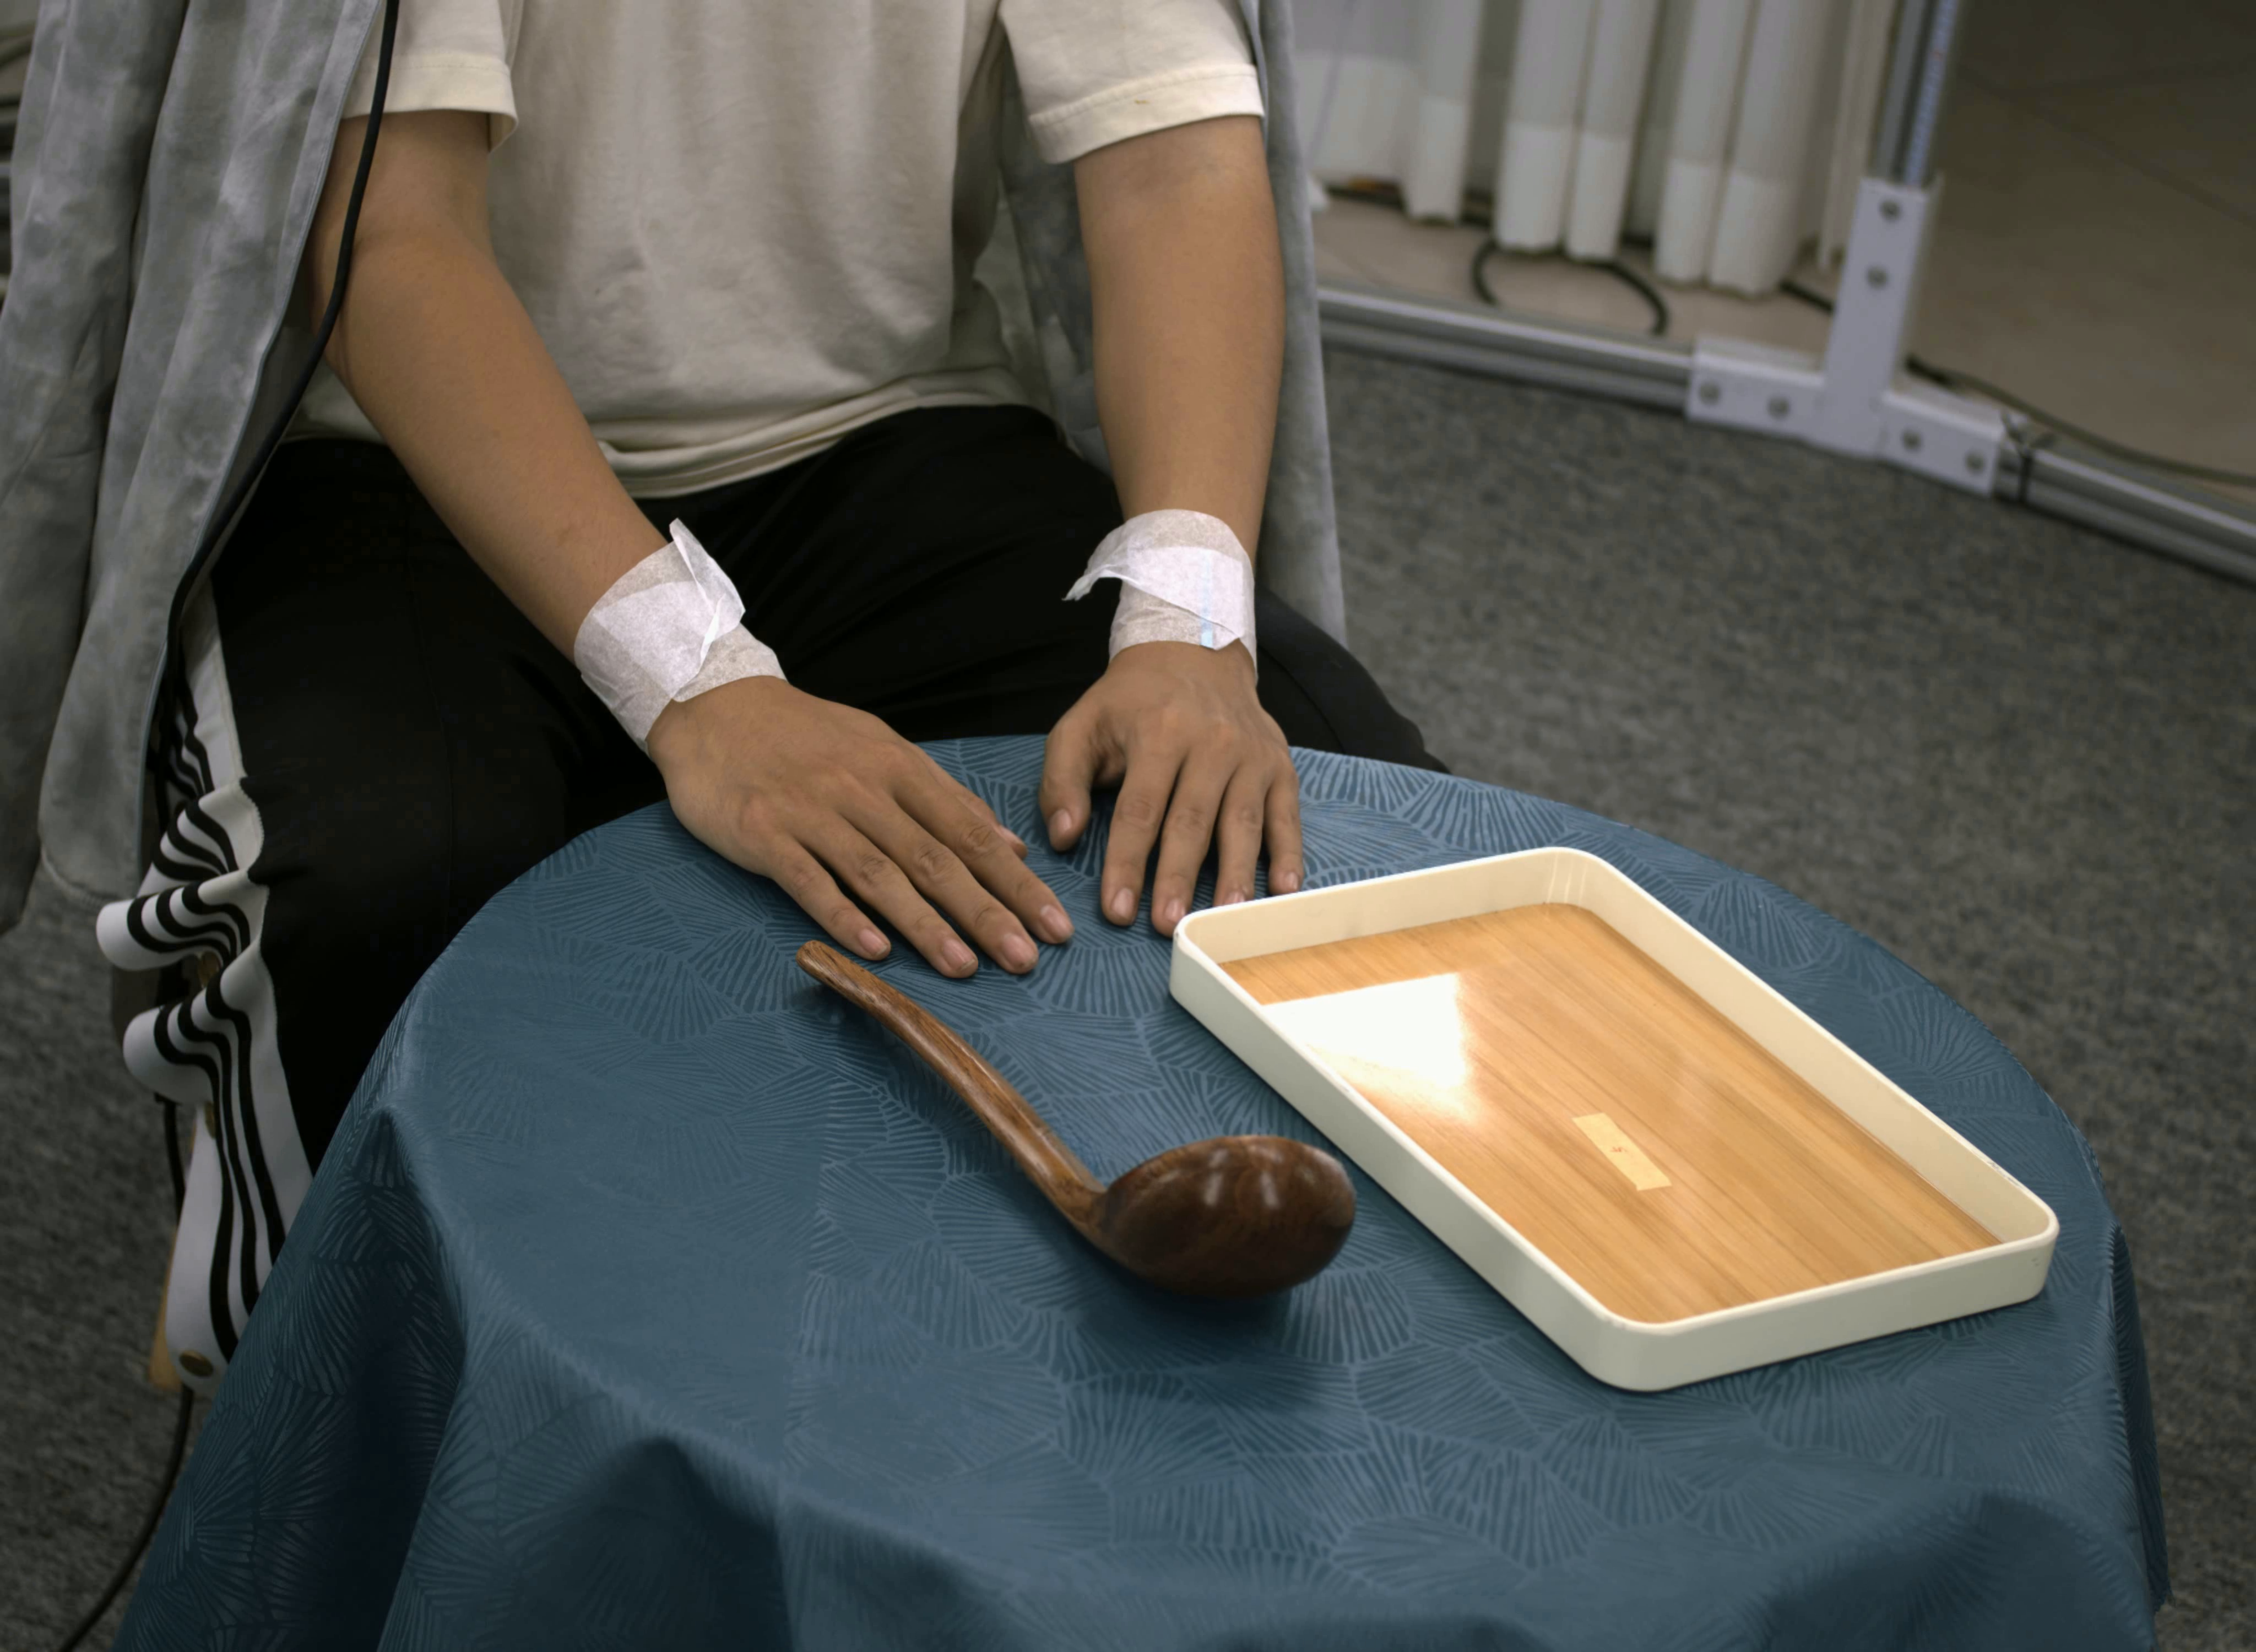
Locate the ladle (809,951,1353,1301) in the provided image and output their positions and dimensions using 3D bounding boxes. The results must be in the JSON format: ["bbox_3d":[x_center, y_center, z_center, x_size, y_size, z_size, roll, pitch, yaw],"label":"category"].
[{"bbox_3d":[-0.022,0.082,1.805,0.081,0.076,0.276,36,3,-41],"label":"ladle"}]

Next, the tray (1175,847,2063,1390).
[{"bbox_3d":[0.166,0.096,1.866,0.190,0.027,0.303,-10,31,-29],"label":"tray"}]
